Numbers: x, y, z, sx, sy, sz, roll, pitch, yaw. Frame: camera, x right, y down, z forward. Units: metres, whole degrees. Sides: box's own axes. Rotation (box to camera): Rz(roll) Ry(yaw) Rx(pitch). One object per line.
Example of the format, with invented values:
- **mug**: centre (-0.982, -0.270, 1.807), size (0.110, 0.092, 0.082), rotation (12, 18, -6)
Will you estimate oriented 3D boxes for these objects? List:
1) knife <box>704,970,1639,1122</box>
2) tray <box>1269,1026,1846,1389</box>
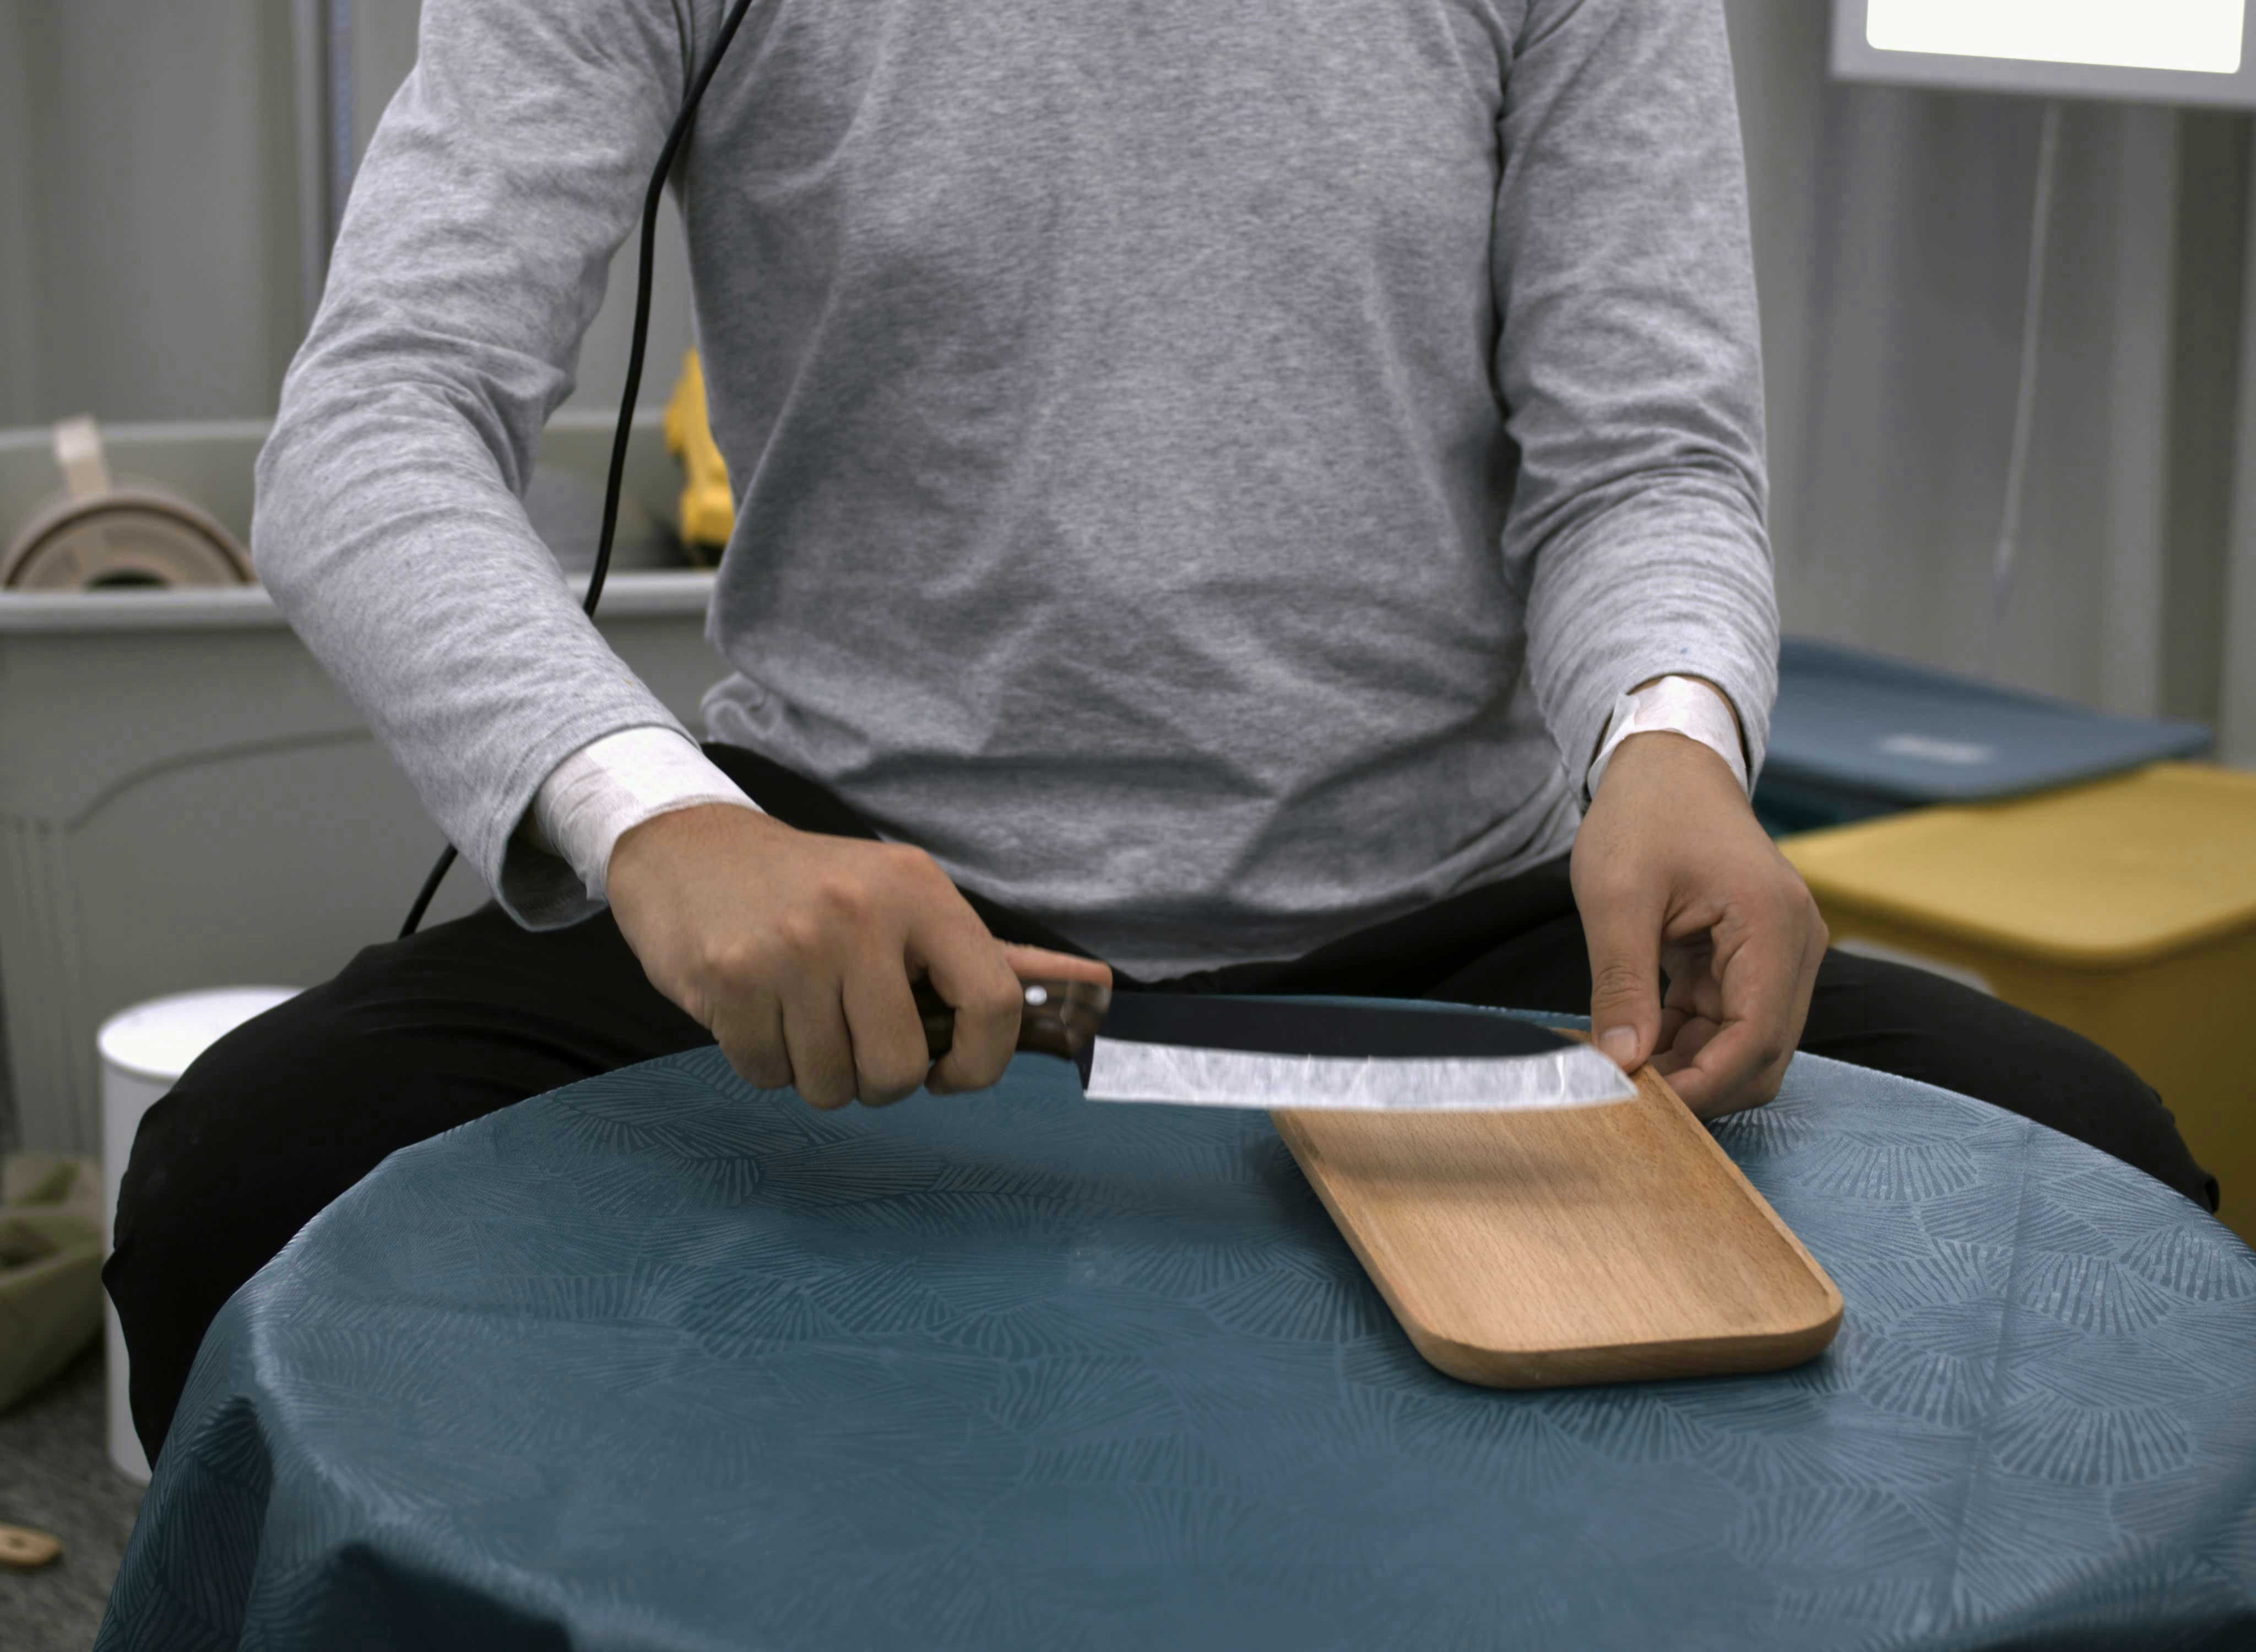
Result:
- **knife**: centre (0.012, 0.068, 1.599), size (0.287, 0.020, 0.050), rotation (5, 48, 5)
- **tray**: centre (0.122, 0.111, 1.582), size (0.130, 0.023, 0.248), rotation (0, 17, -11)
